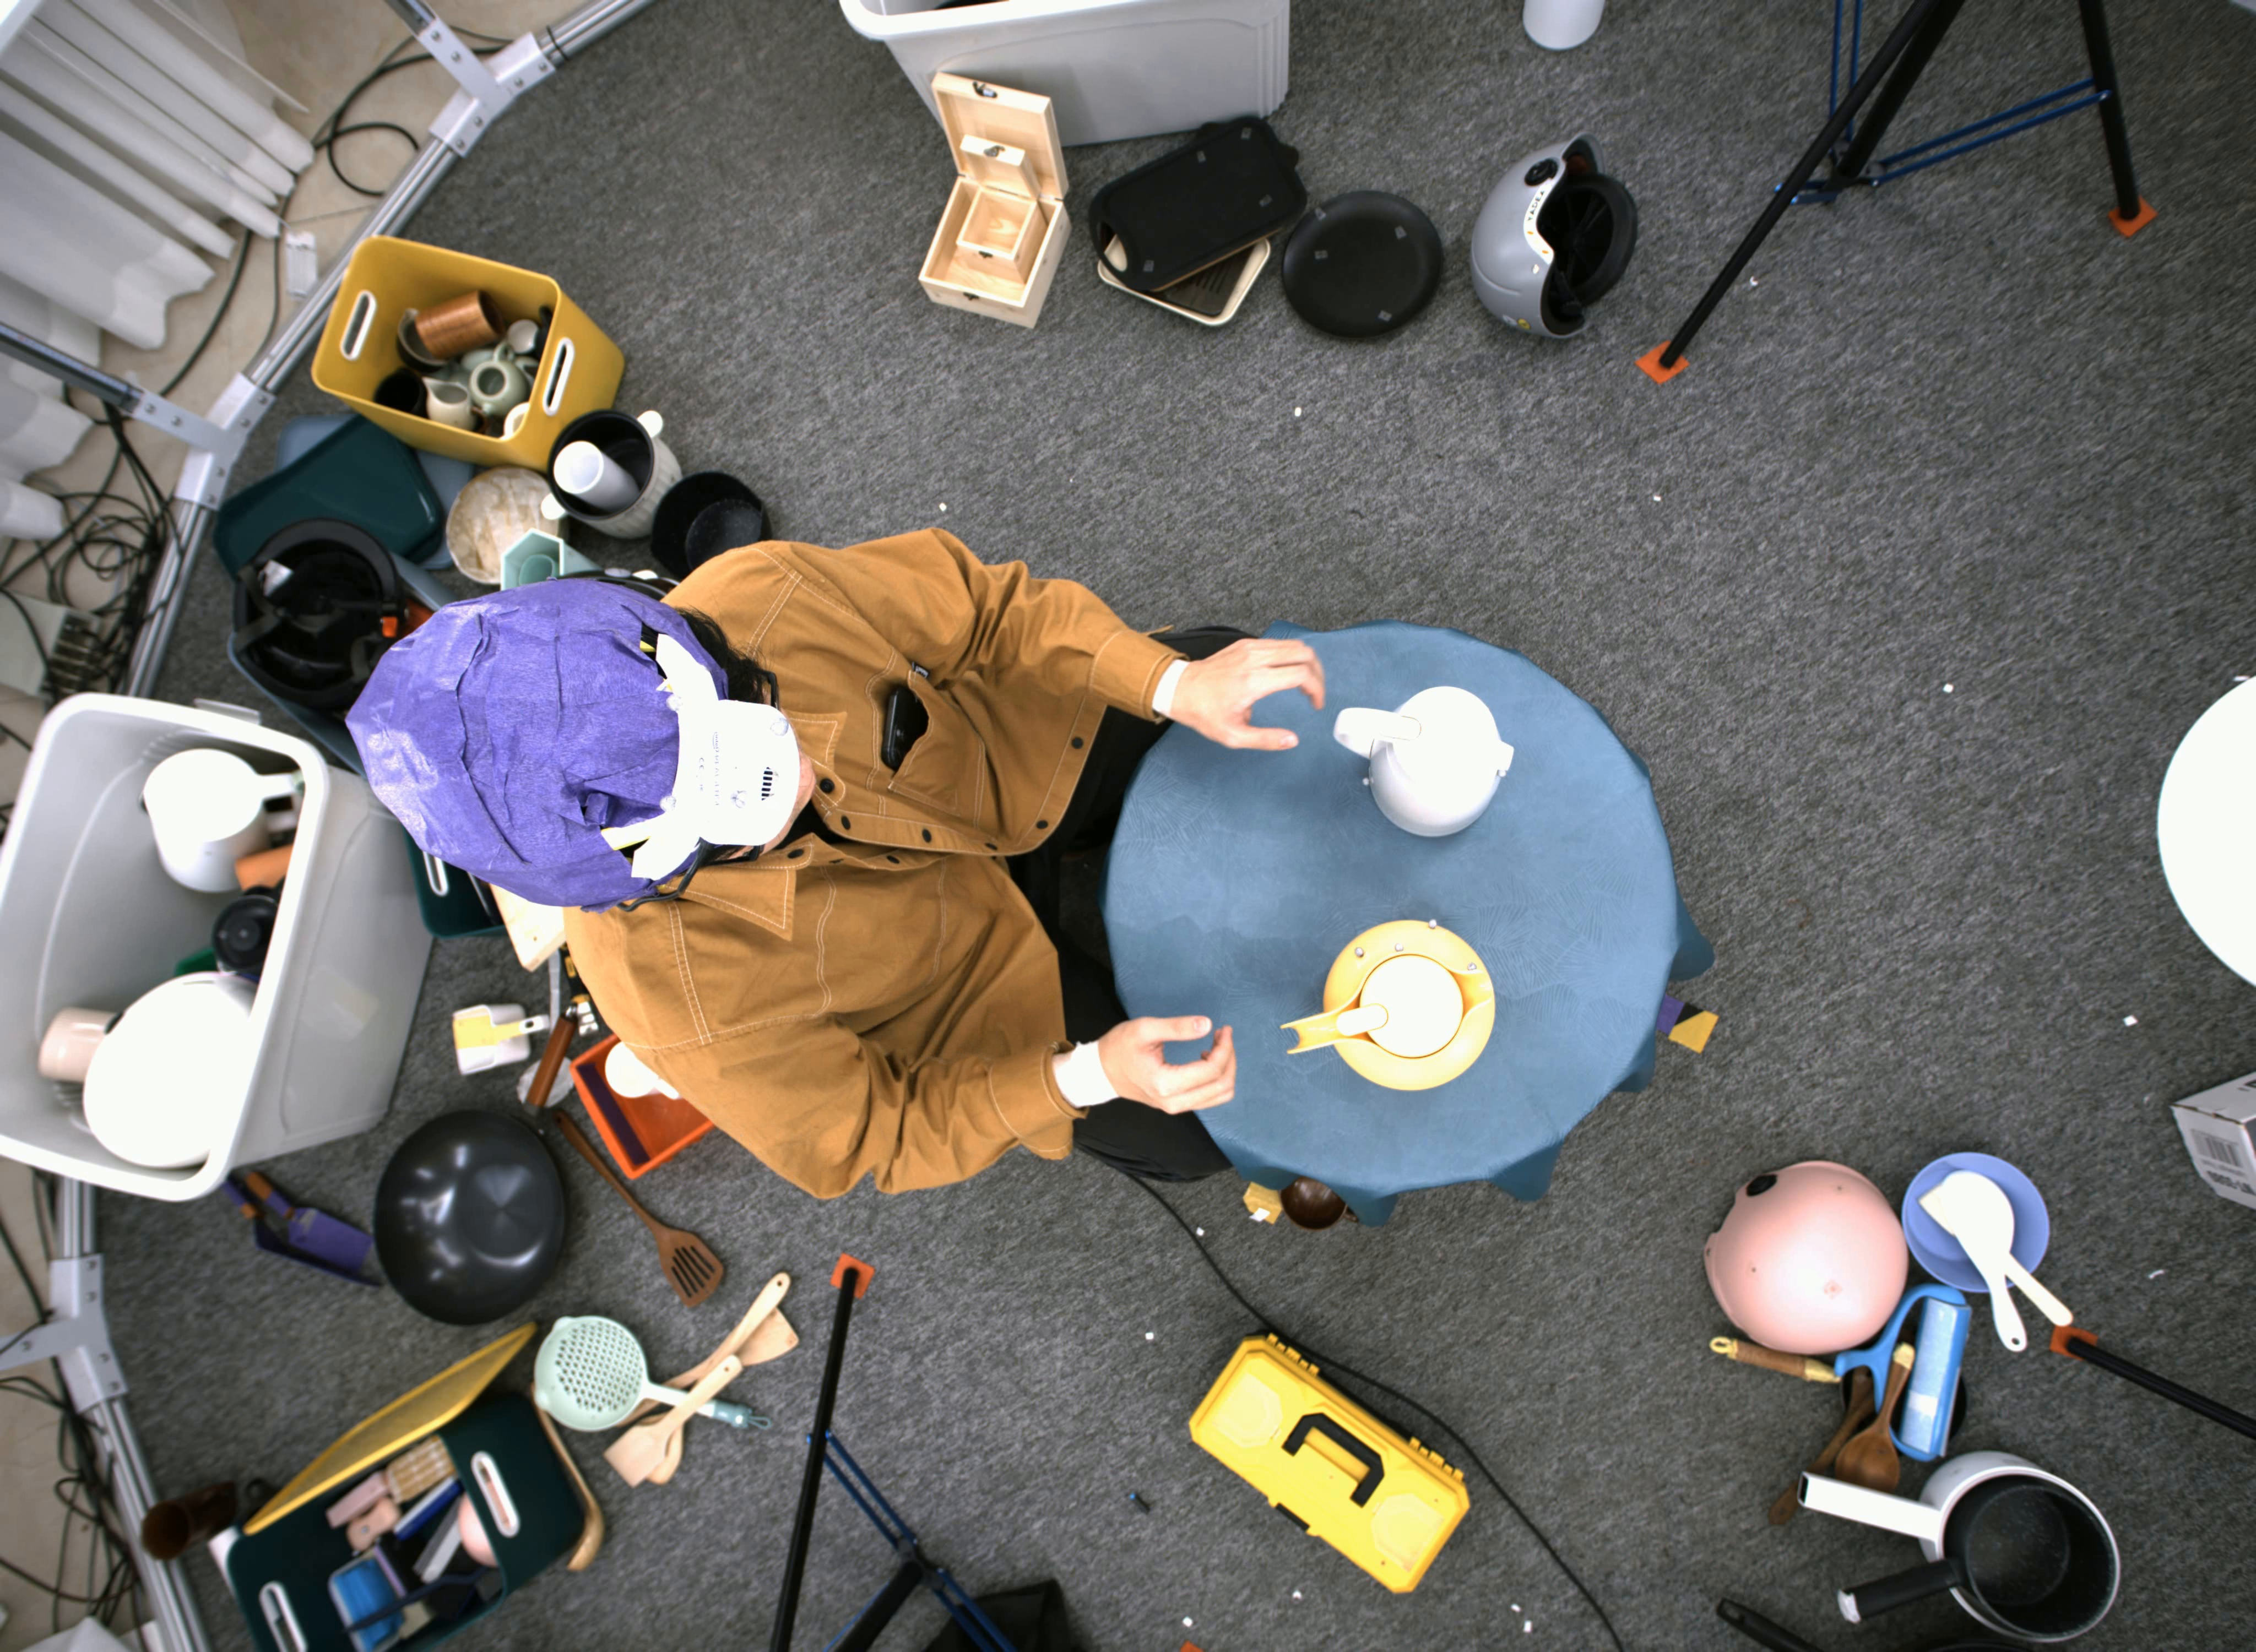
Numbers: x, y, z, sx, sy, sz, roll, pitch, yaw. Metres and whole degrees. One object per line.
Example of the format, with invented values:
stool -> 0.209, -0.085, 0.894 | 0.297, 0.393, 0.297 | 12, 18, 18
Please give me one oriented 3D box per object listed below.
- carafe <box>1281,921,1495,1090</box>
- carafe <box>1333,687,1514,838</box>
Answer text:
carafe -> 0.249, 0.174, 1.329 | 0.203, 0.261, 0.162 | -14, 81, 8
carafe -> 0.282, -0.072, 1.339 | 0.168, 0.249, 0.132 | 16, 88, 11
